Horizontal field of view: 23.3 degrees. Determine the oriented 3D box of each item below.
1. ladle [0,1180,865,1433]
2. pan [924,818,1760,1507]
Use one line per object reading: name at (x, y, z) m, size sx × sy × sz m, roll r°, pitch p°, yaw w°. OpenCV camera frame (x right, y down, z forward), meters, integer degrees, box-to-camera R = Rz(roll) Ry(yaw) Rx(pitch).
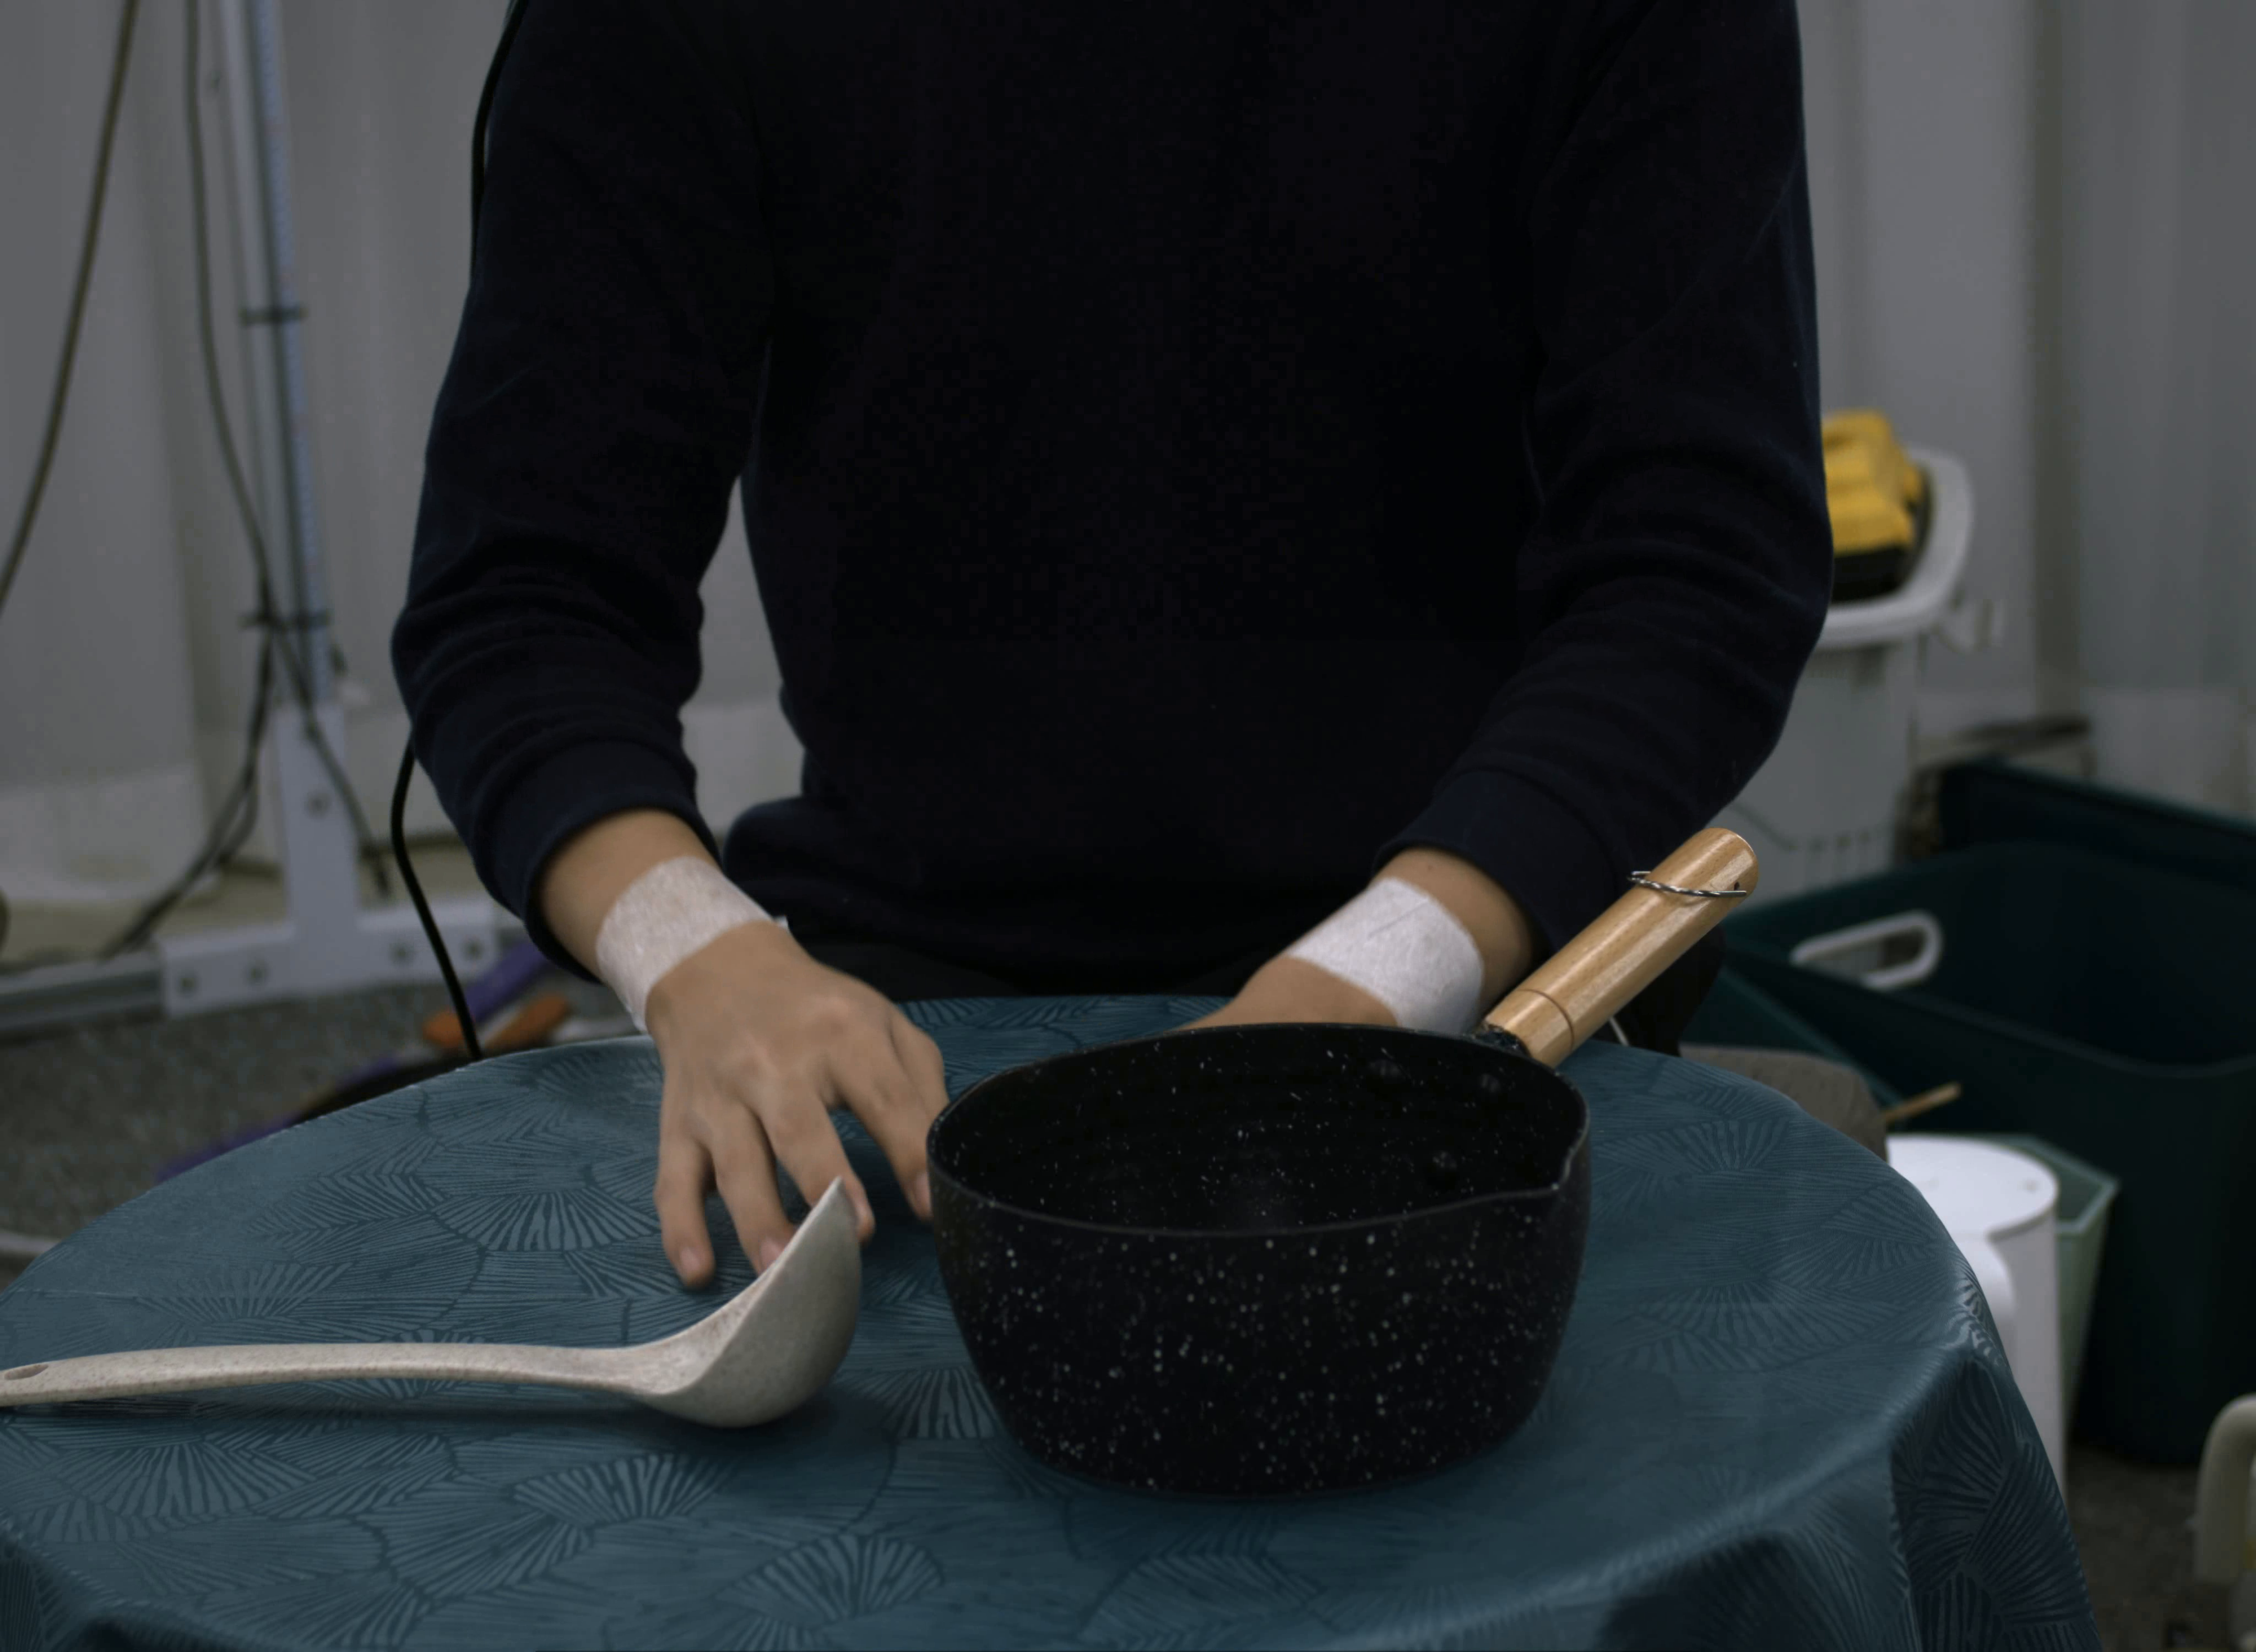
ladle at (-0.209, 0.134, 1.552) m, size 0.274 × 0.069 × 0.090 m, roll 0°, pitch 20°, yaw 10°
pan at (0.084, 0.092, 1.577) m, size 0.208 × 0.108 × 0.343 m, roll 7°, pitch 19°, yaw 36°
